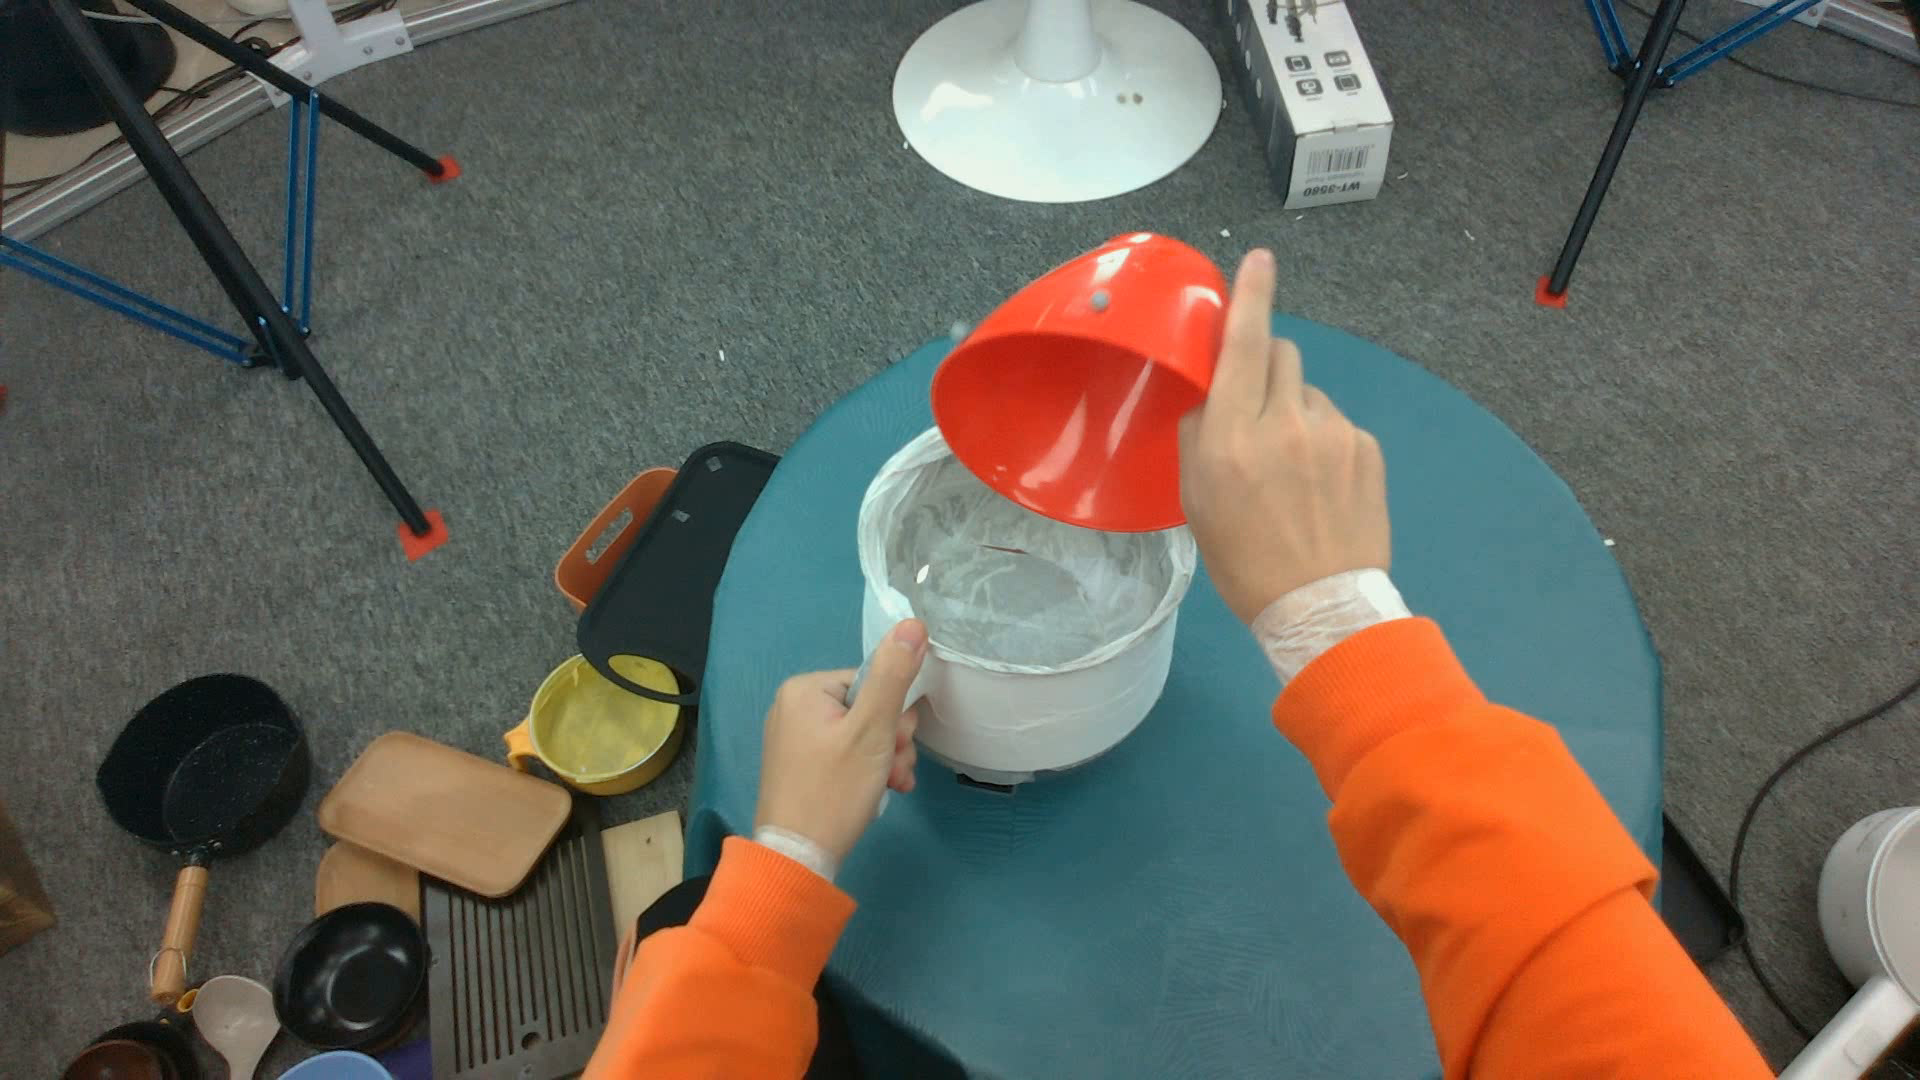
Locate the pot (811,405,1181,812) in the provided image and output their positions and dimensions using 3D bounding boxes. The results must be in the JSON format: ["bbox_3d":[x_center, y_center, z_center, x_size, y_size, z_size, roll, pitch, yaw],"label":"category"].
[{"bbox_3d":[0.008,0.043,0.750,0.179,0.136,0.235,33,57,22],"label":"pot"}]

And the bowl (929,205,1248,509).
[{"bbox_3d":[0.072,-0.095,0.652,0.148,0.147,0.105,20,62,15],"label":"bowl"}]
